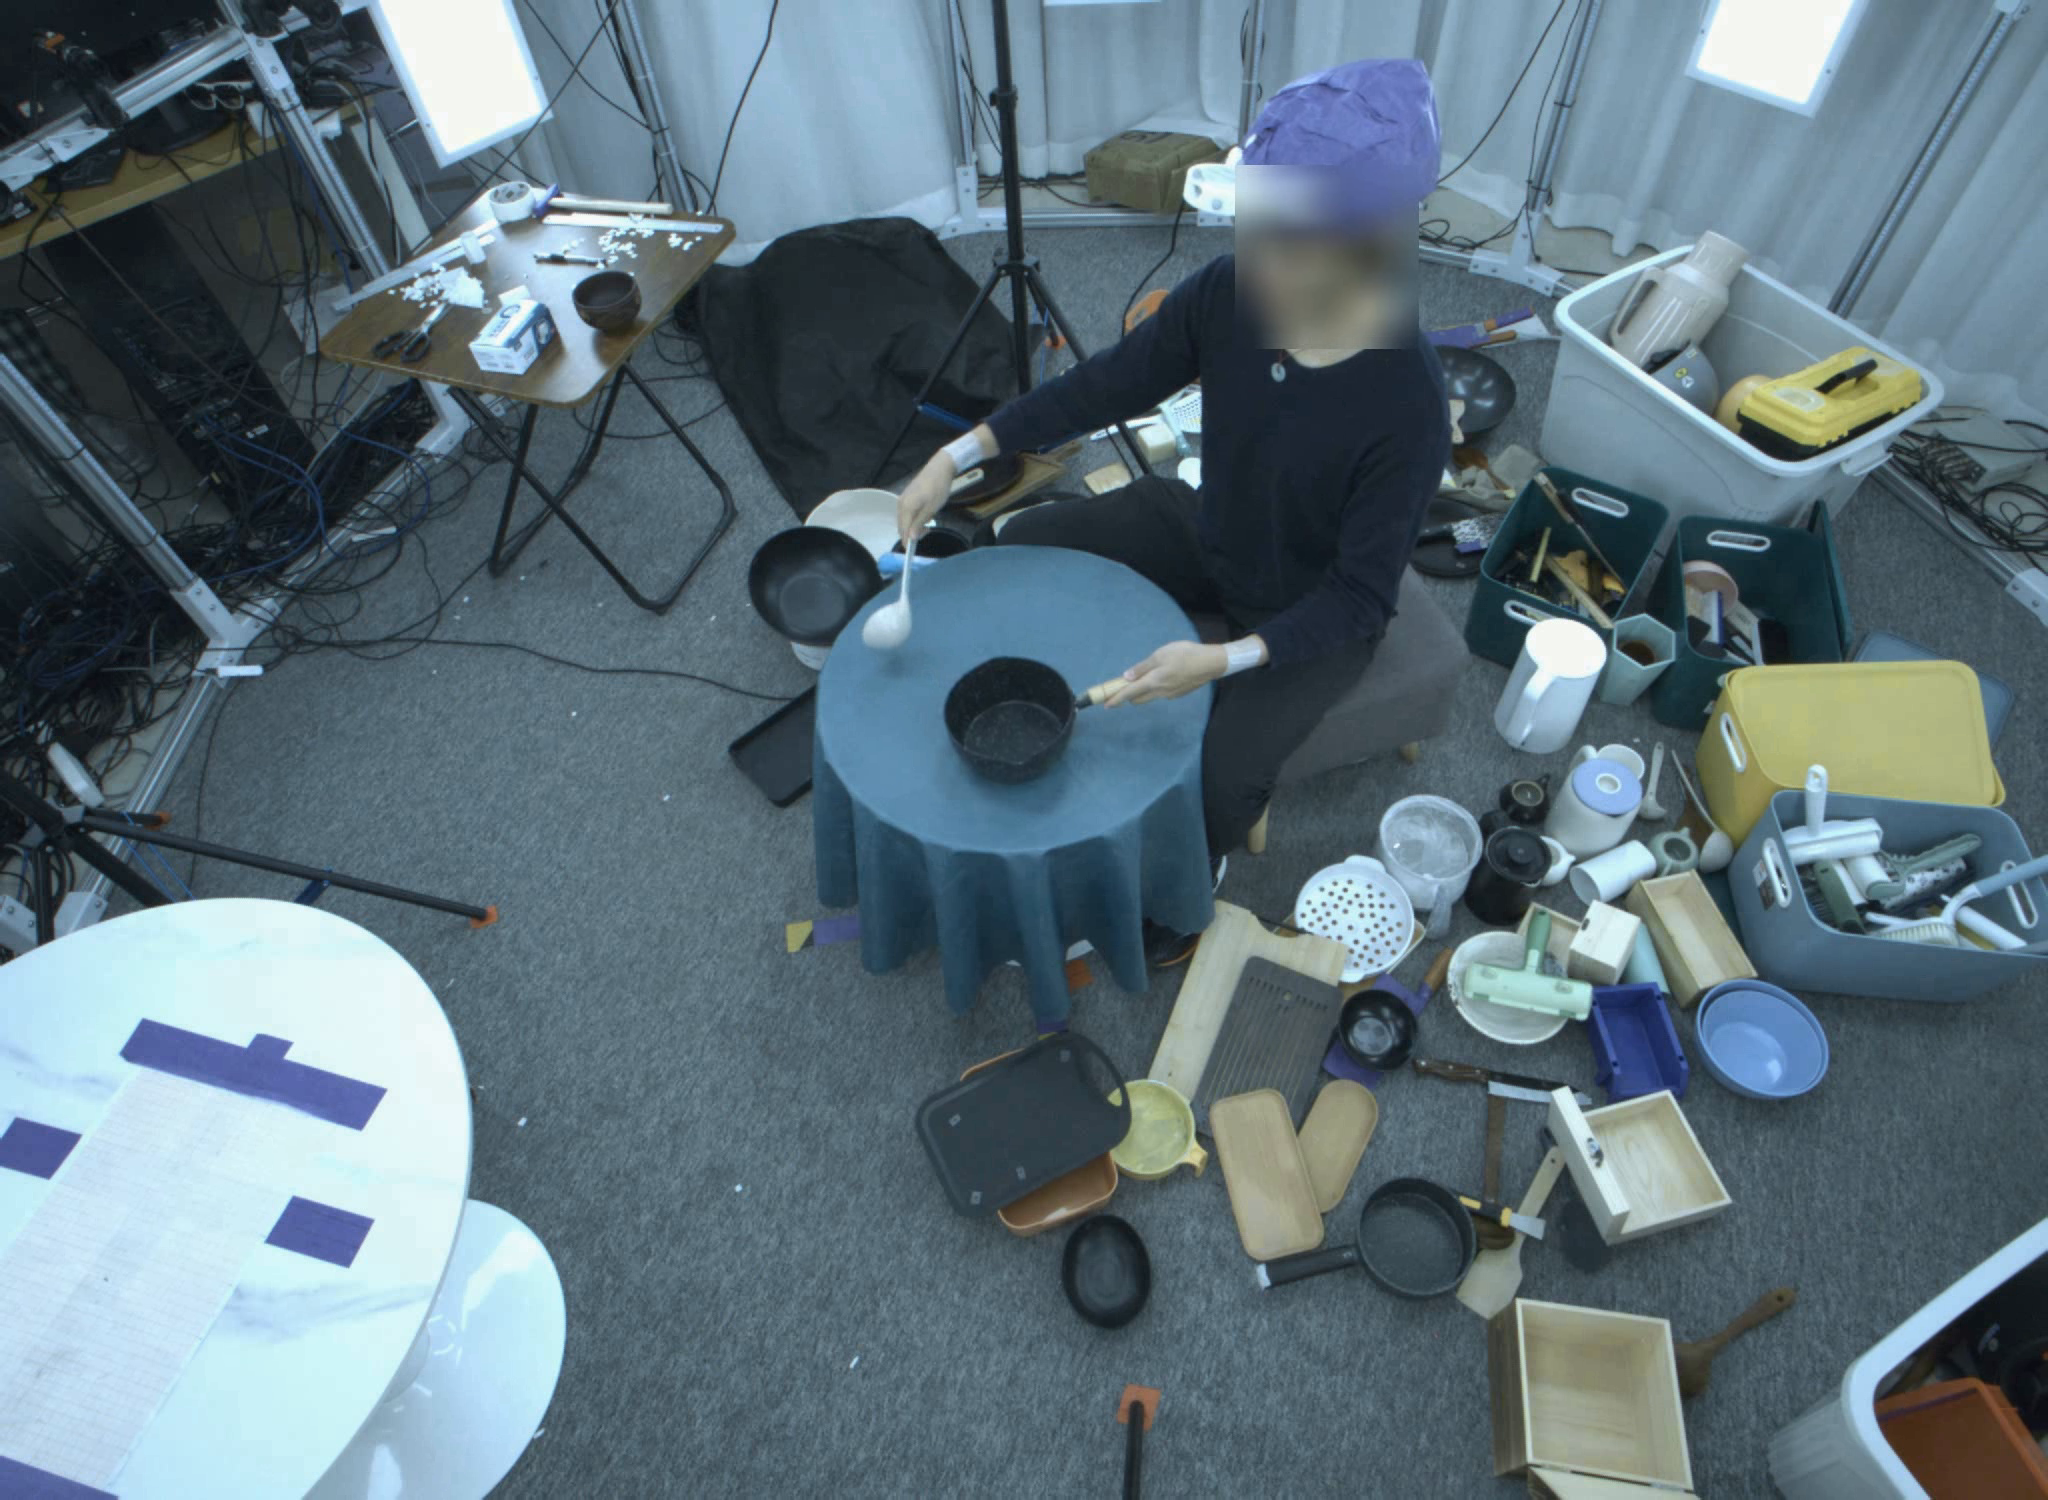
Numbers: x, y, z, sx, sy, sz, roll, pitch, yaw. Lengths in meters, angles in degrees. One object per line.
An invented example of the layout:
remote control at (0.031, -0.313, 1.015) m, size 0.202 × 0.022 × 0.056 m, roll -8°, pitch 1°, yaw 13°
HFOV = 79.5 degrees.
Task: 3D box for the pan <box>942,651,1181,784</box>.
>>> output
pan at (0.057, -0.060, 1.755) m, size 0.343 × 0.109 × 0.204 m, roll -13°, pitch 54°, yaw -3°

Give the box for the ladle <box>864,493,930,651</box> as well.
ladle at (-0.195, -0.281, 1.888) m, size 0.068 × 0.091 × 0.273 m, roll -4°, pitch 65°, yaw 18°
